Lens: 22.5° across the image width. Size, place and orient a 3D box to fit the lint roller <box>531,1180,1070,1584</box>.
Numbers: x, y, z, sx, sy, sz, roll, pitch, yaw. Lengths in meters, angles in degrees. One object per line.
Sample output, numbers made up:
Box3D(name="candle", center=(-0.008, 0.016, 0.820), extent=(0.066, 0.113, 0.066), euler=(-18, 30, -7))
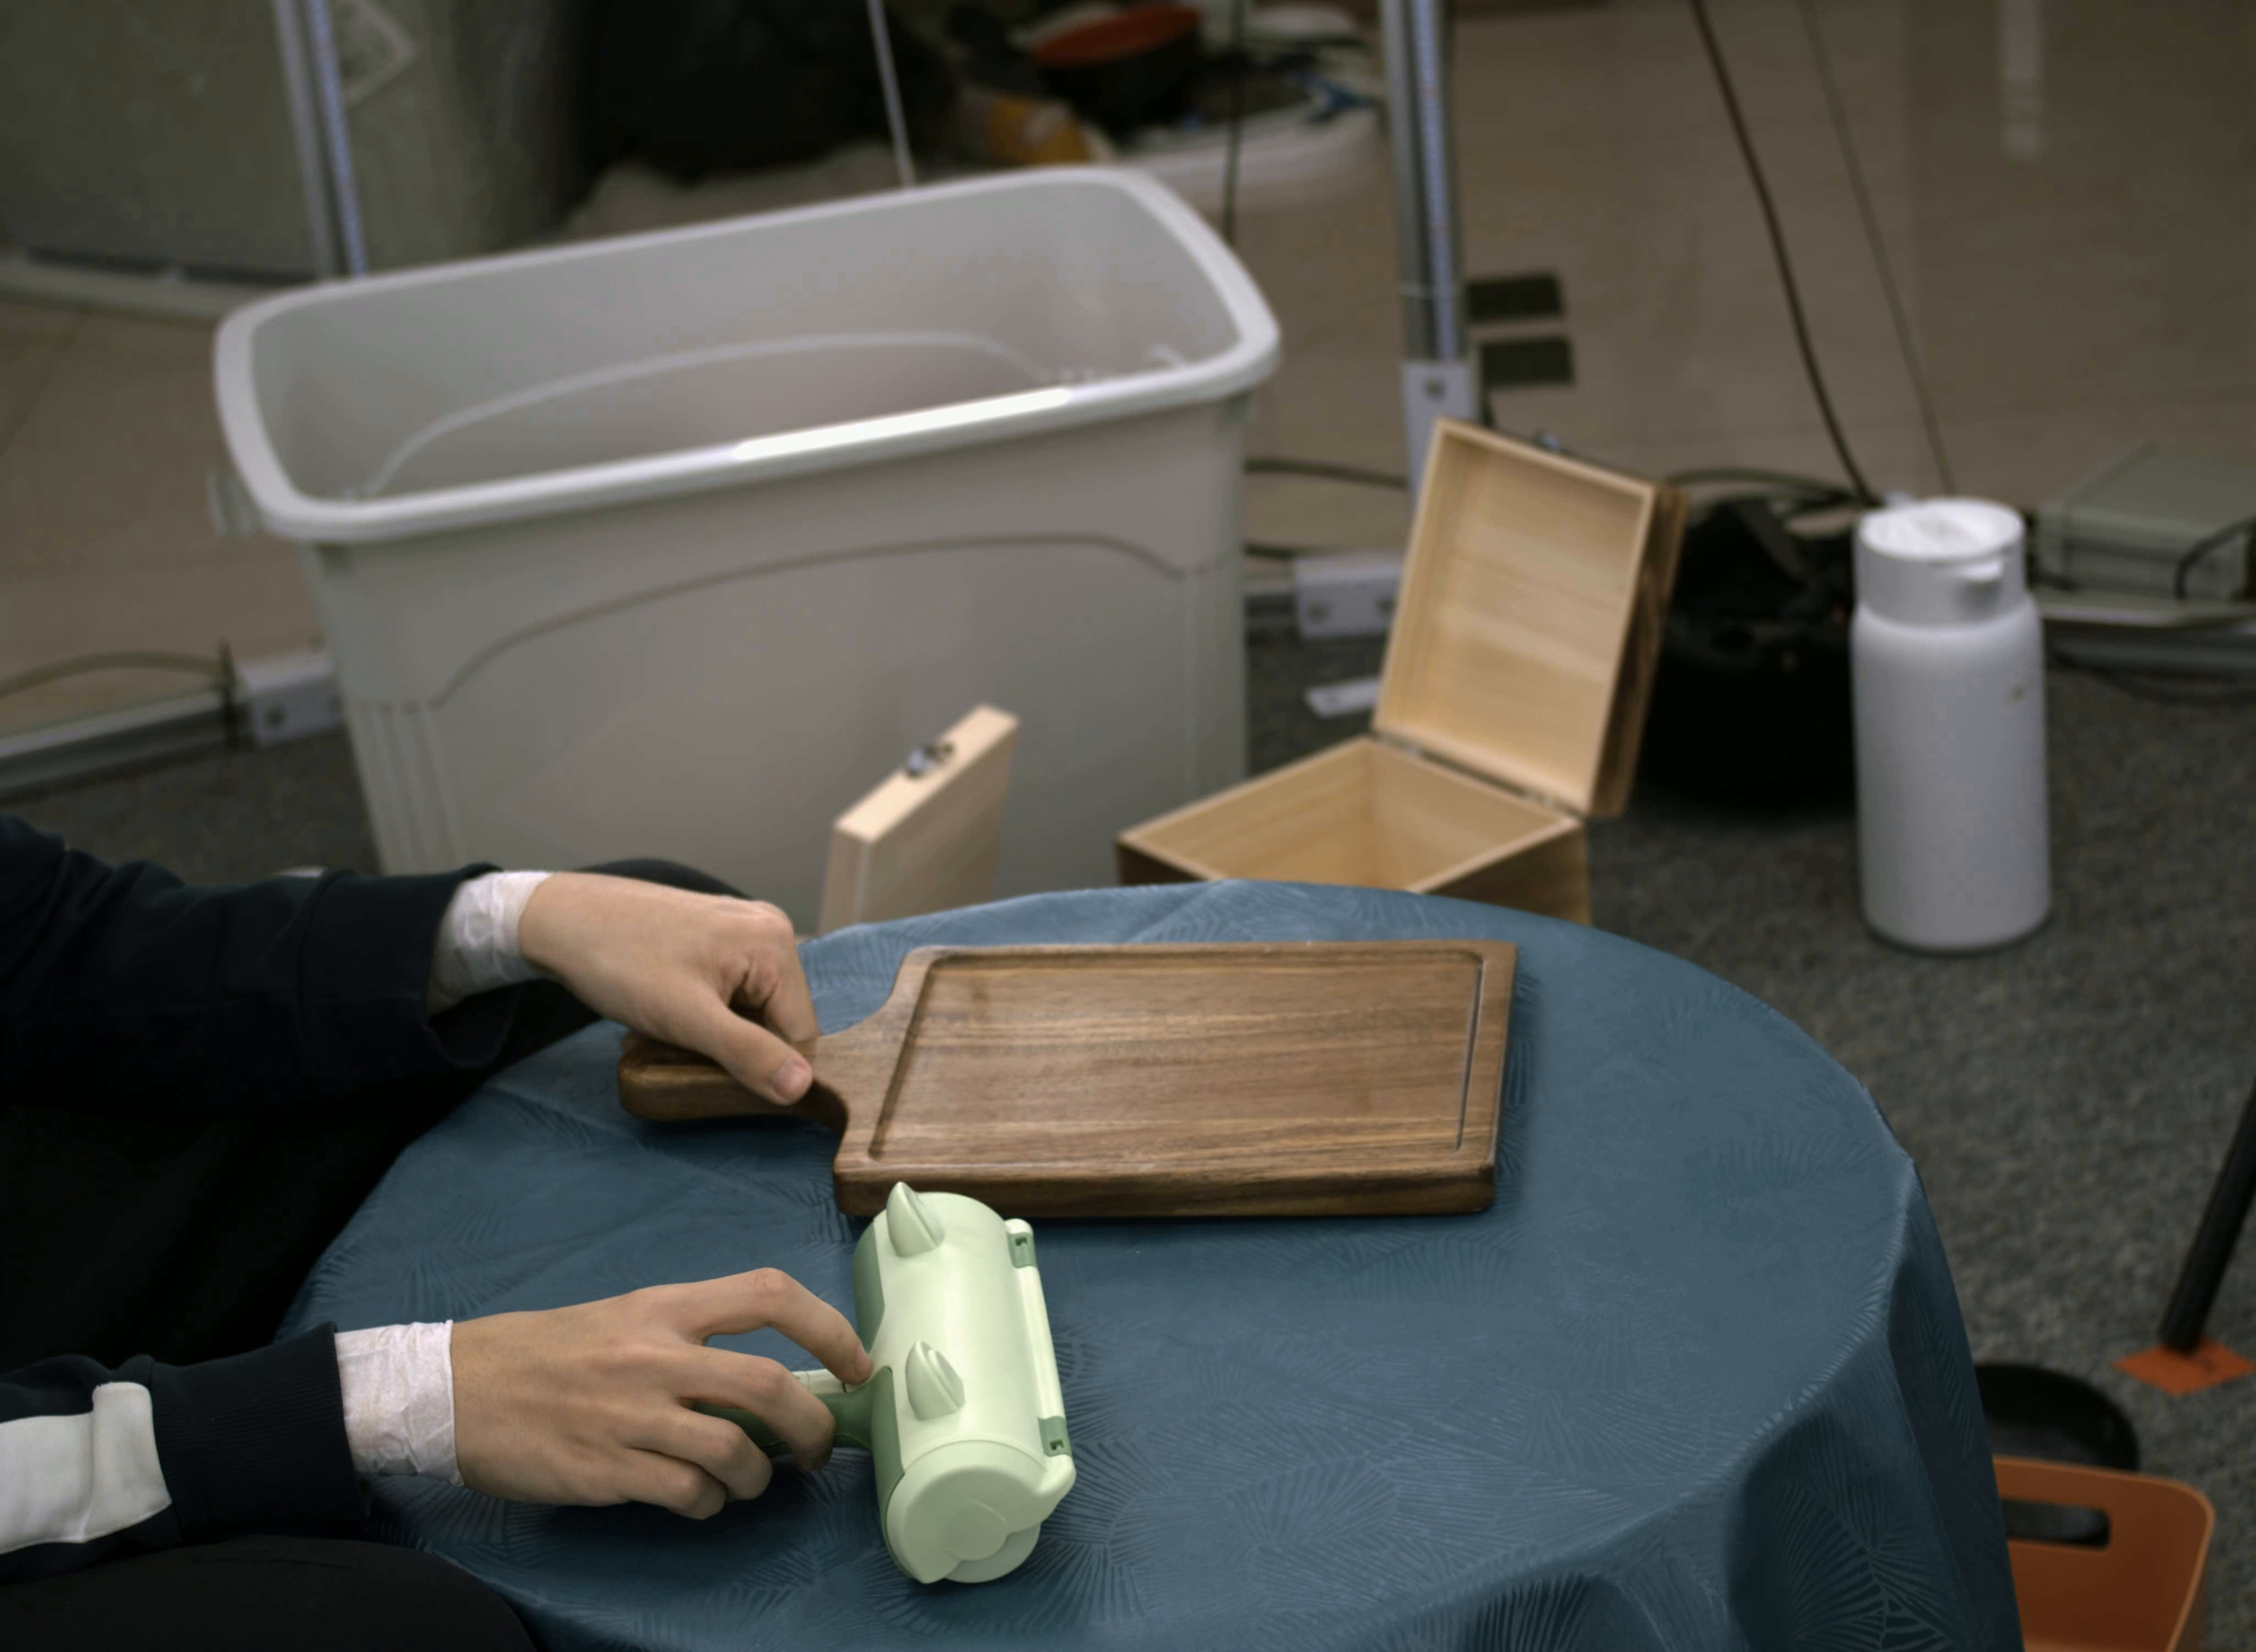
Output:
Box3D(name="lint roller", center=(-0.118, 0.190, 1.971), extent=(0.183, 0.083, 0.195), euler=(-4, 25, -4))

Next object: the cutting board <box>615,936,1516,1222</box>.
Box3D(name="cutting board", center=(-0.026, 0.097, 2.204), extent=(0.351, 0.023, 0.198), euler=(-2, 25, 7))
